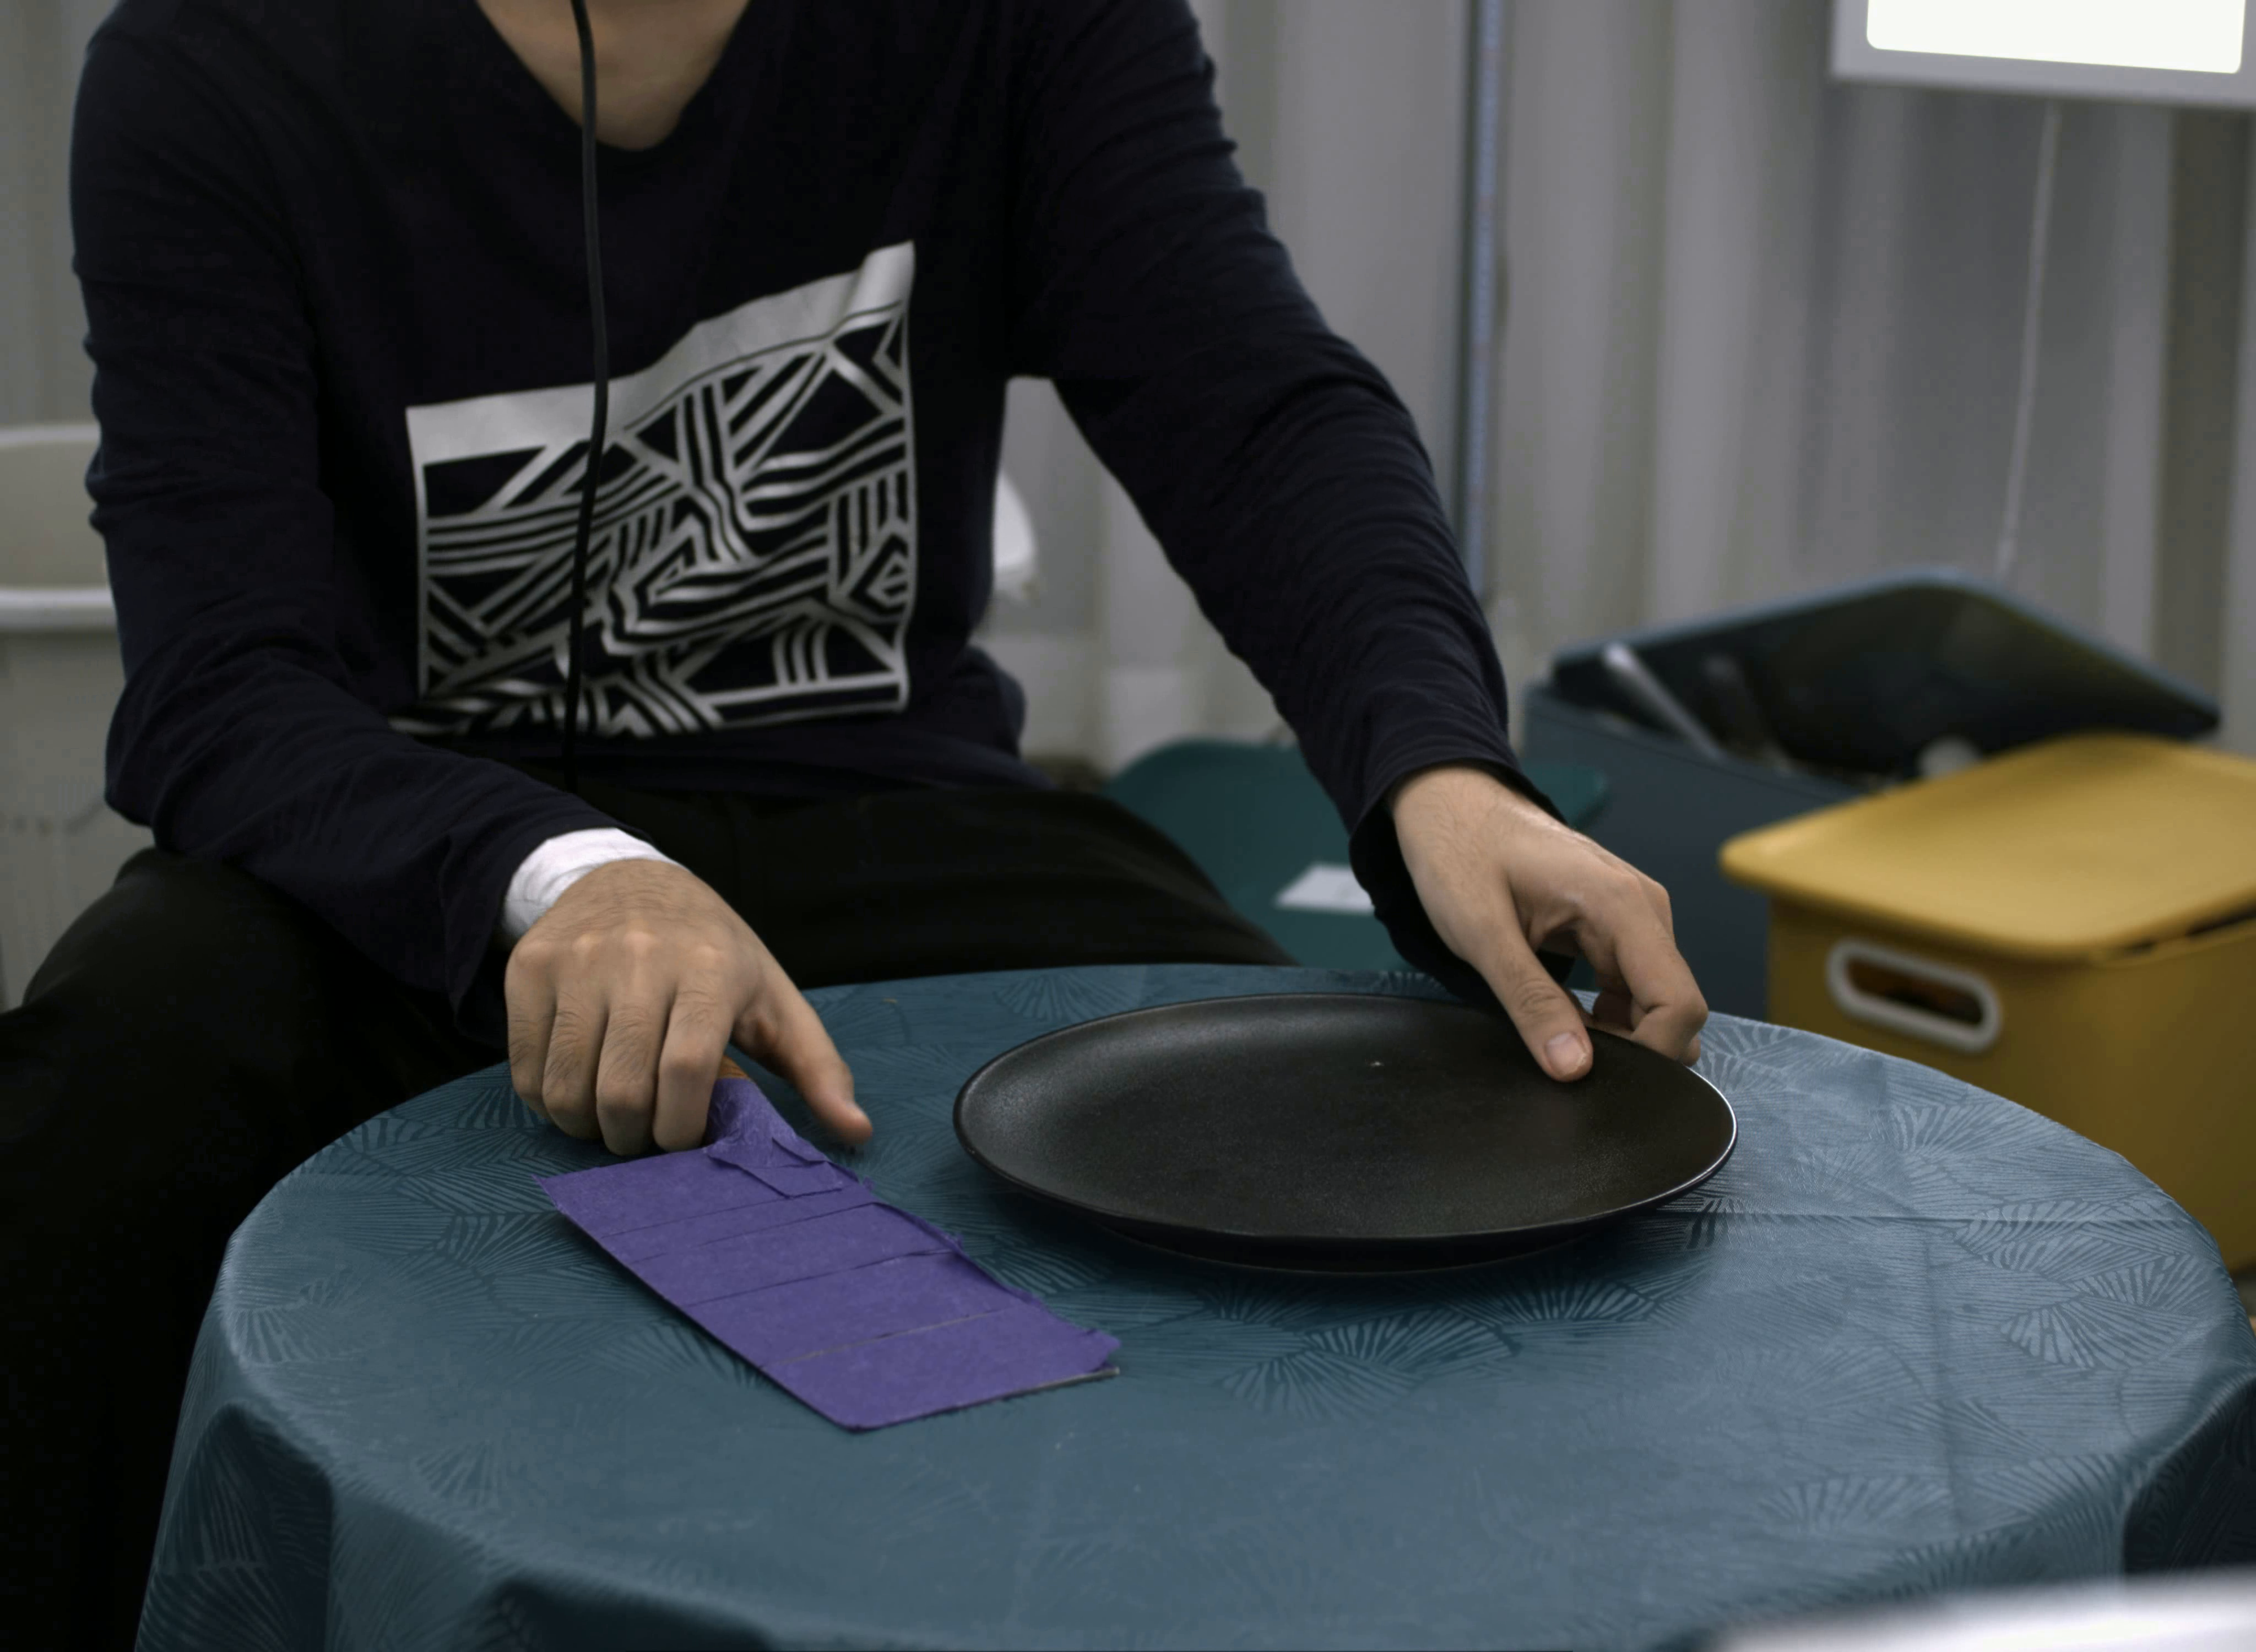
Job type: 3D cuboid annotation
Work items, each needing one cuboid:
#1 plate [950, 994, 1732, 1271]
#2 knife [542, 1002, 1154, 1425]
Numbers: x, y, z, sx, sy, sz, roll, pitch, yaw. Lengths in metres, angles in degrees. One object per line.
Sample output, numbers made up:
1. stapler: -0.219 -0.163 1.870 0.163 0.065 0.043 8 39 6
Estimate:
1. plate: 0.066 0.097 1.639 0.243 0.023 0.243 1 15 0
2. knife: -0.116 0.112 1.572 0.104 0.032 0.311 -9 18 -31
